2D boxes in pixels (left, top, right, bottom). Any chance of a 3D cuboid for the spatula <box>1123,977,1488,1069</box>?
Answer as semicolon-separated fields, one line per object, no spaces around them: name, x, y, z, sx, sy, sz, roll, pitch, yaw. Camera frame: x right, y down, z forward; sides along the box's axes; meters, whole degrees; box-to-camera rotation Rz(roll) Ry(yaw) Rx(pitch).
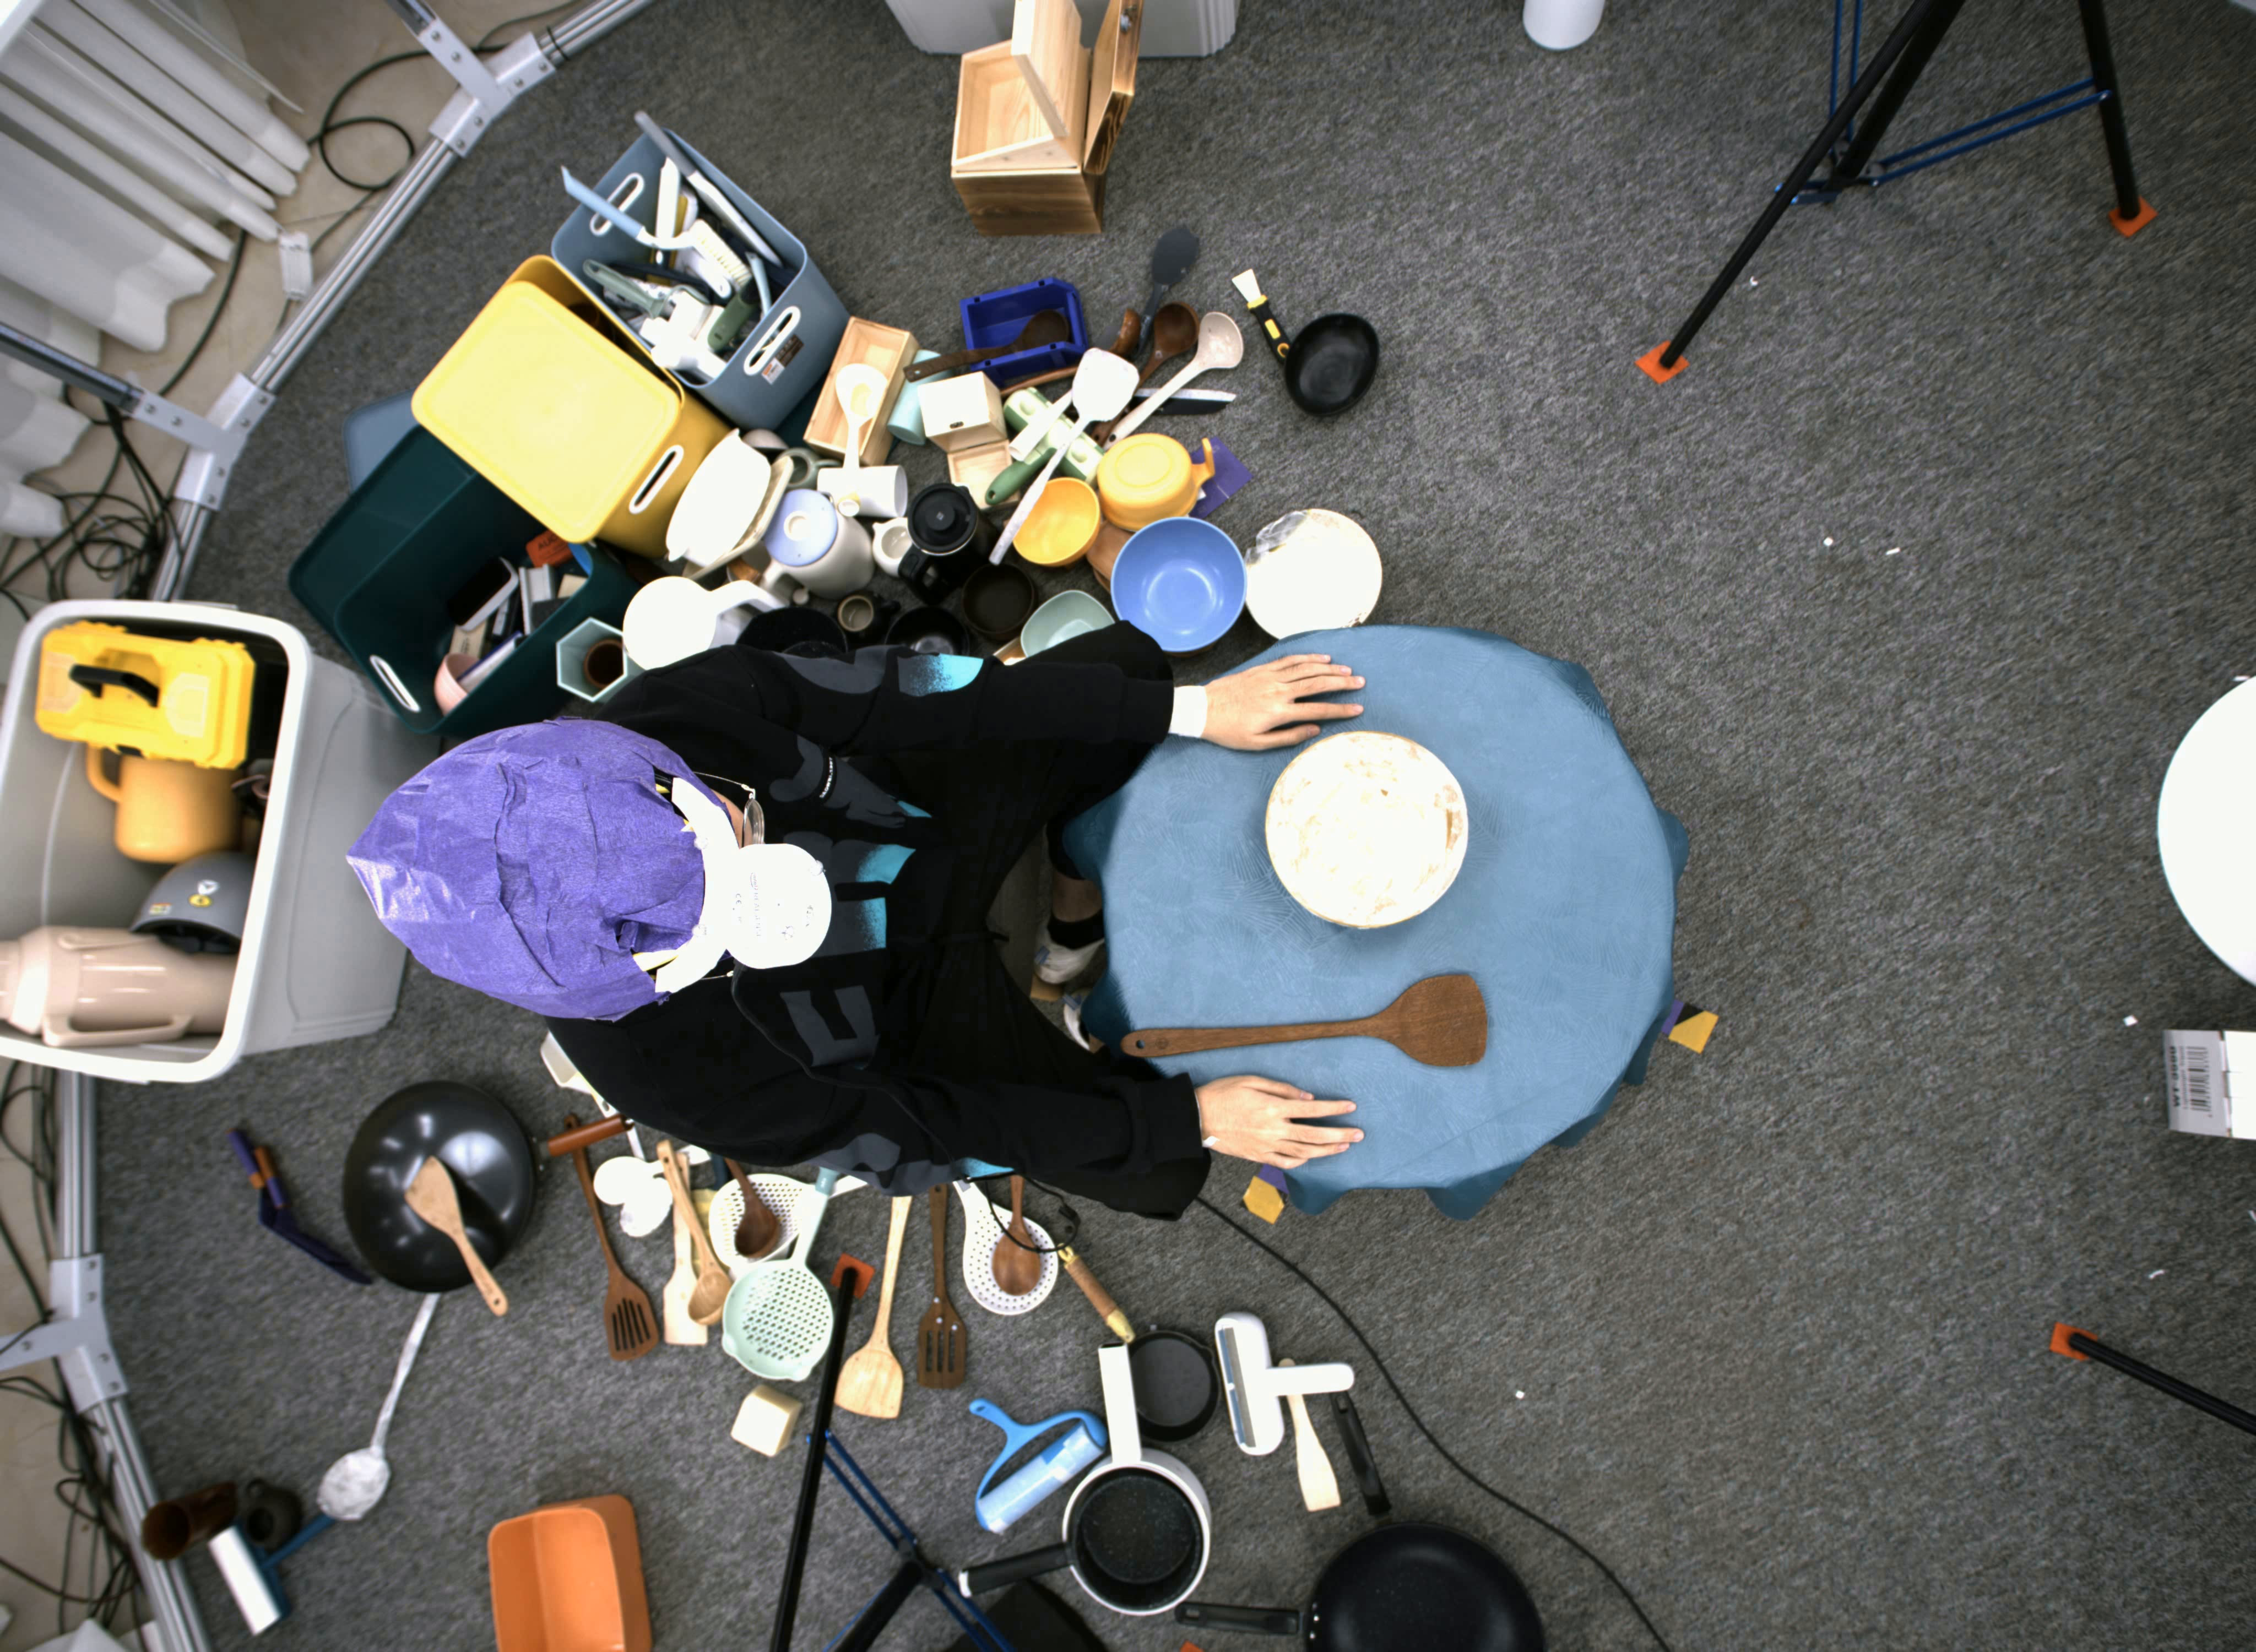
spatula;0.183;0.220;1.464;0.388;0.016;0.095;-6;85;10

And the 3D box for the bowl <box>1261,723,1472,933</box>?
bowl;0.246;0.005;1.426;0.215;0.094;0.214;-1;87;11
